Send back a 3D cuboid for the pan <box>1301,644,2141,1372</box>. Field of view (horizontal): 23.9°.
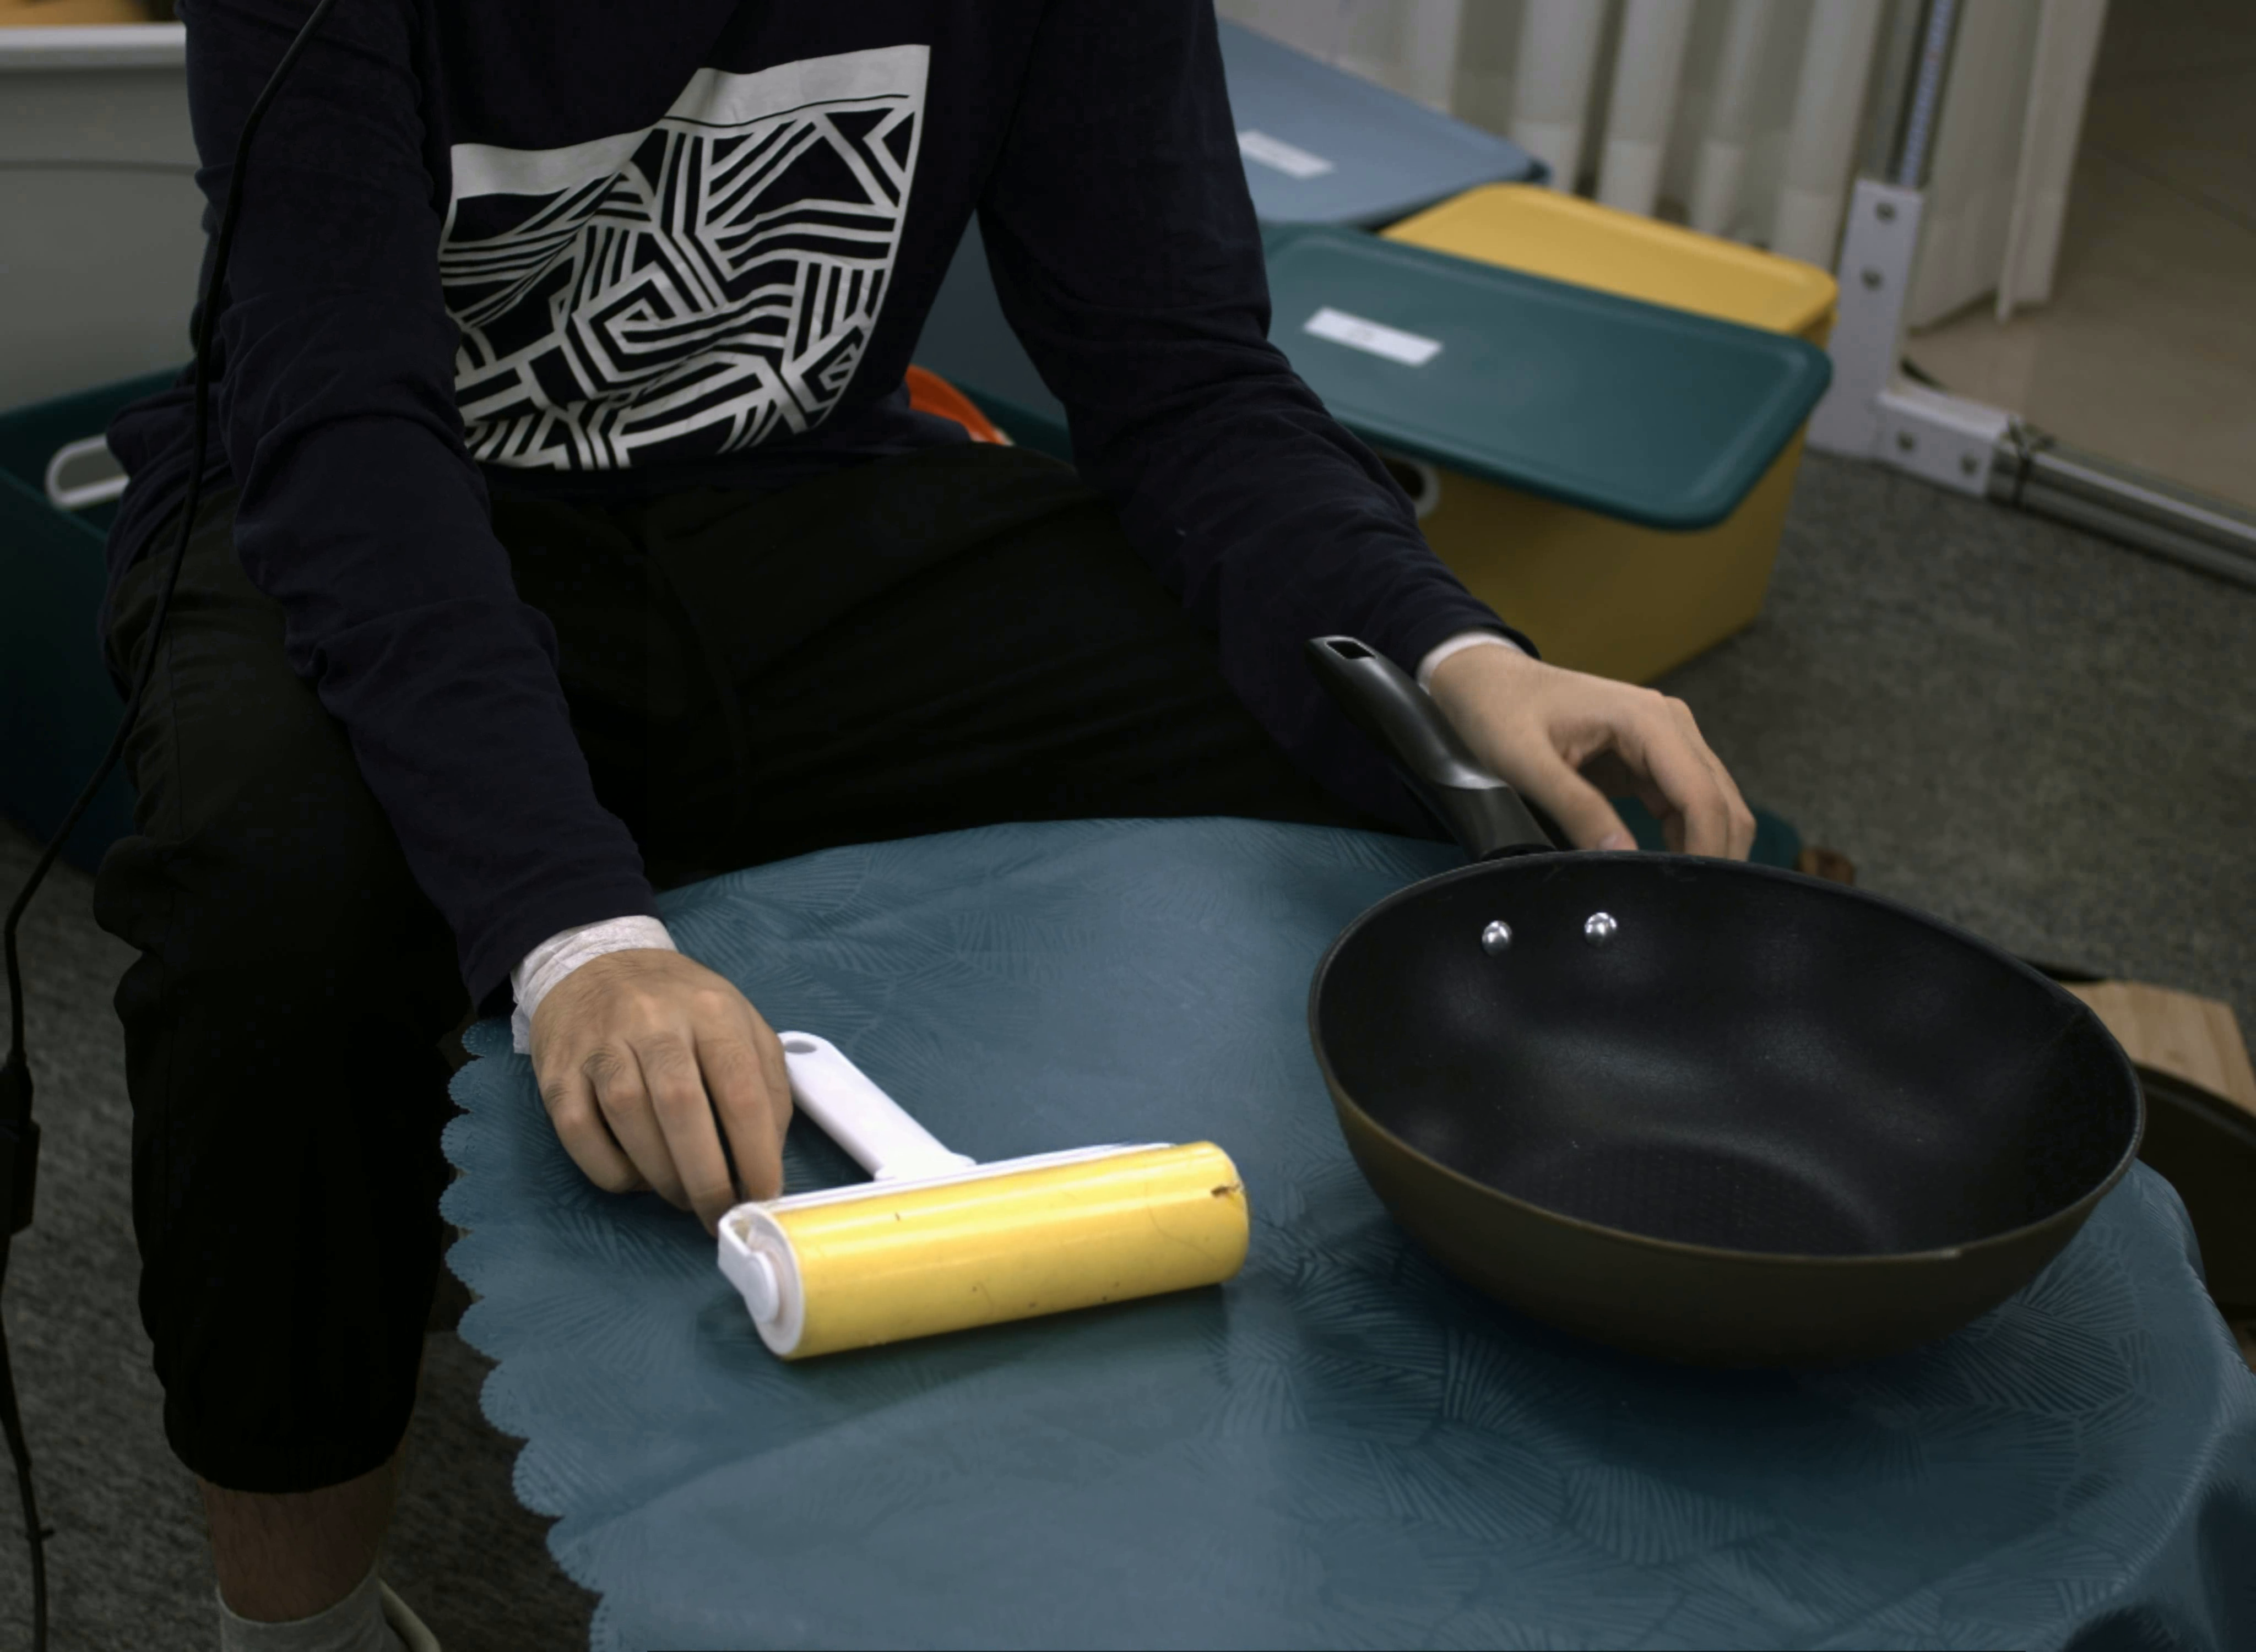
[{"bbox_3d":[0.158,0.066,1.865,0.286,0.086,0.467,-5,28,-23],"label":"pan"}]

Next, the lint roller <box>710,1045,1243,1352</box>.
[{"bbox_3d":[-0.077,0.105,1.773,0.173,0.051,0.194,-7,30,-26],"label":"lint roller"}]
